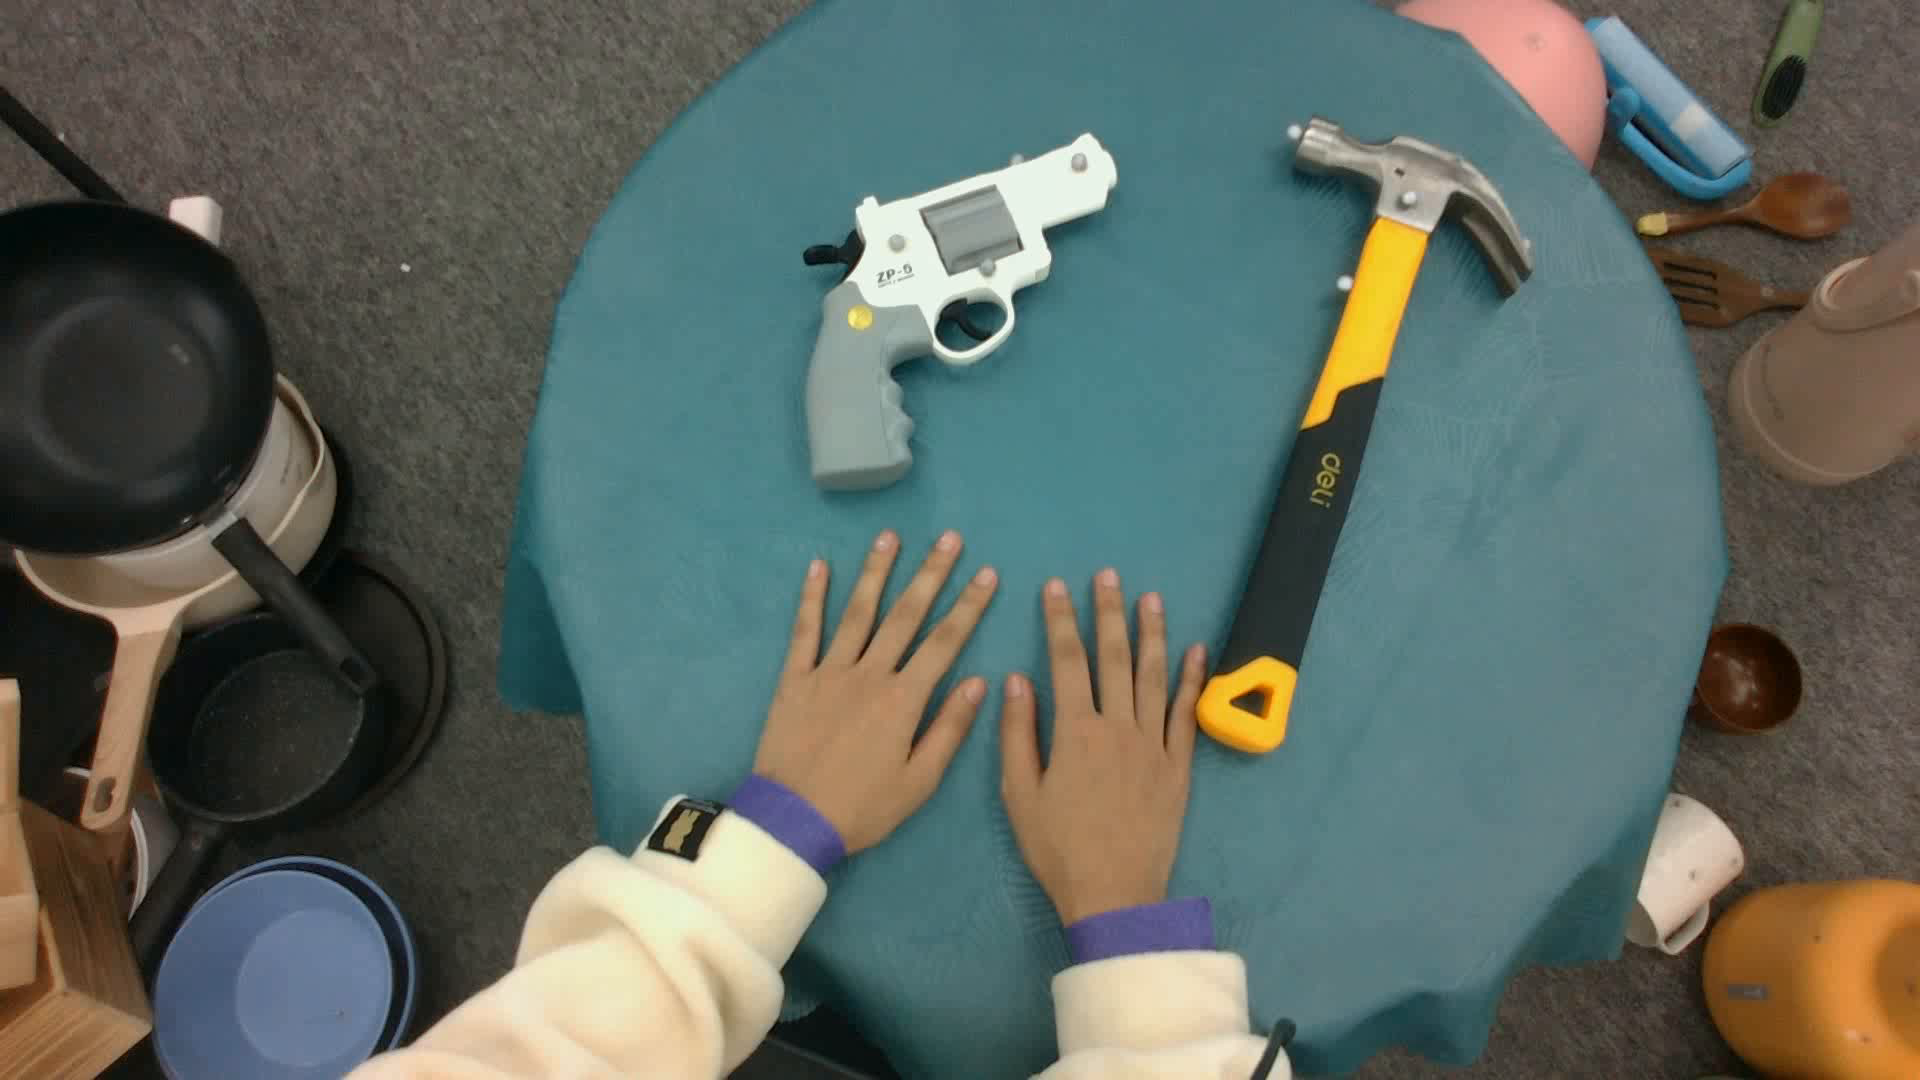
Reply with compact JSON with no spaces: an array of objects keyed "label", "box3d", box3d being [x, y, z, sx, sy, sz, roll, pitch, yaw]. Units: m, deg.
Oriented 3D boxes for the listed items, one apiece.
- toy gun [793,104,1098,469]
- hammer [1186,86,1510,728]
[{"label":"toy gun","box3d":[-0.006,-0.131,0.692,0.209,0.038,0.142,-23,74,-9]},{"label":"hammer","box3d":[0.179,-0.068,0.683,0.131,0.032,0.339,21,72,2]}]
